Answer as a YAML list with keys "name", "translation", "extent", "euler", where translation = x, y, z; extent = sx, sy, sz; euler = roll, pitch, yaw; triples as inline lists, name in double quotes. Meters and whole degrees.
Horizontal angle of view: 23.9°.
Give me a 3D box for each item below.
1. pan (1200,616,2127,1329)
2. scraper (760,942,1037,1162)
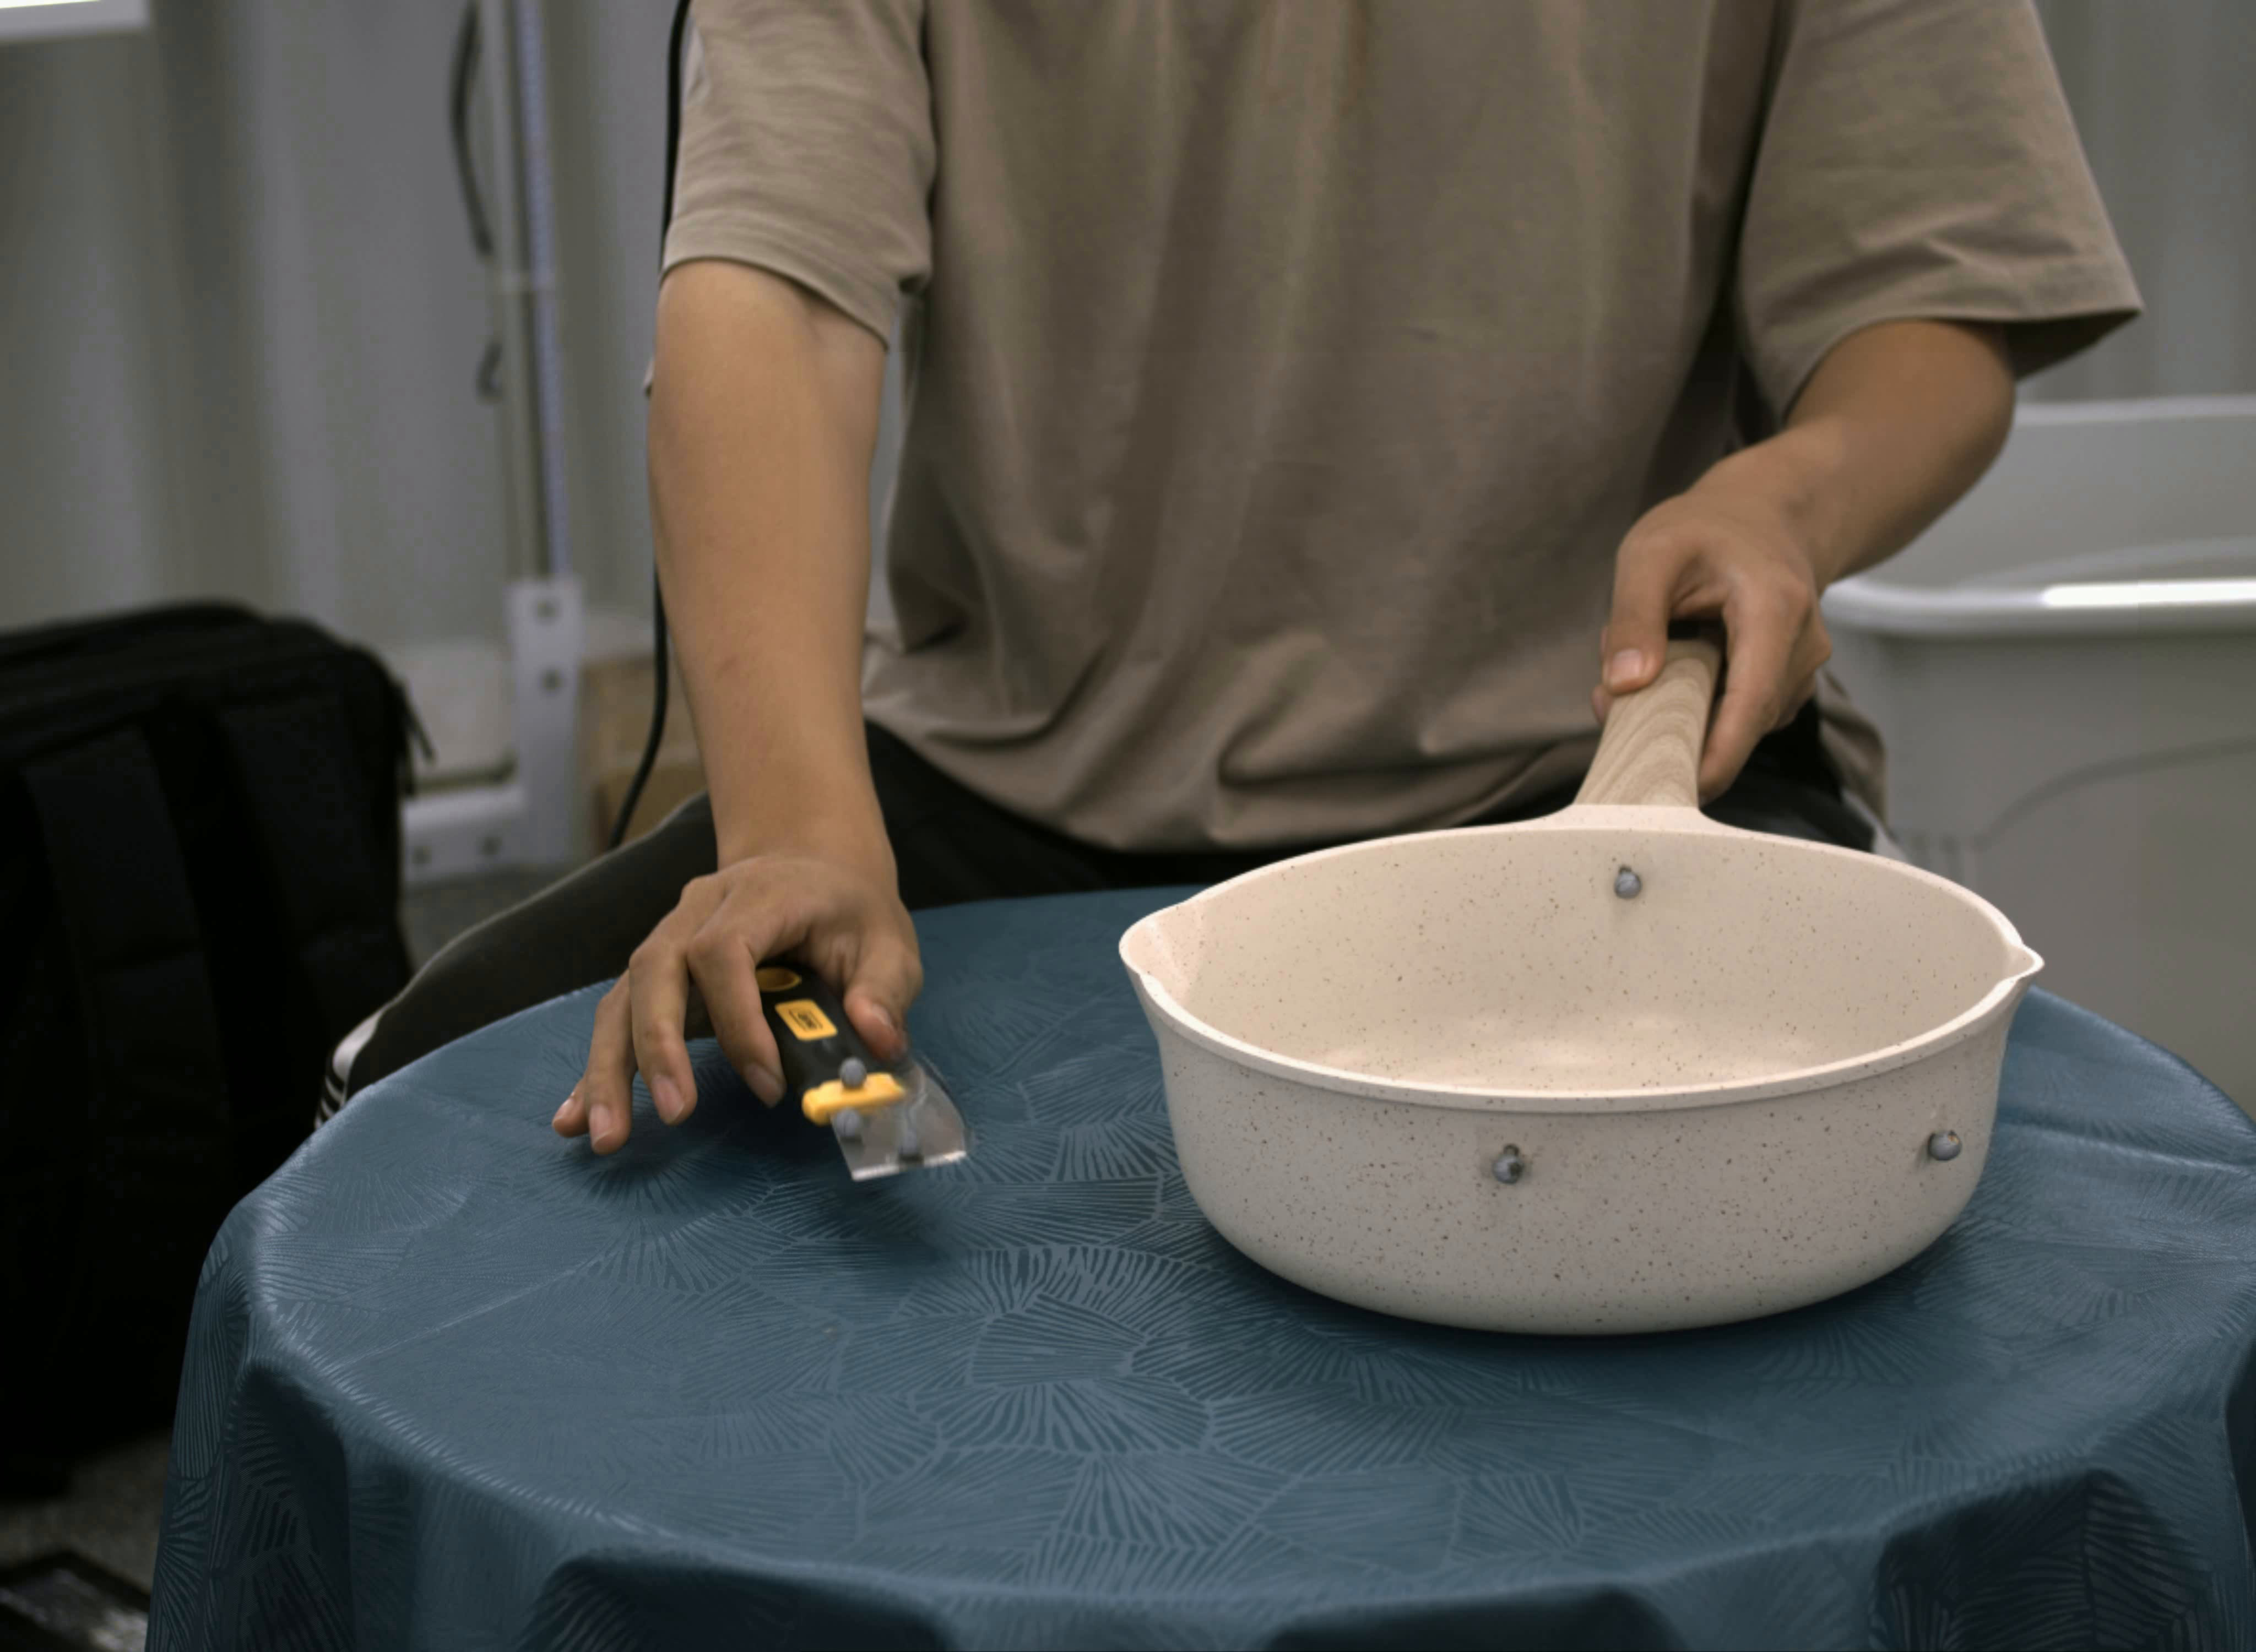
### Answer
- name: "pan"
  translation: [0.170, 0.039, 1.590]
  extent: [0.265, 0.102, 0.432]
  euler: [-1, 16, 12]
- name: "scraper"
  translation: [-0.073, 0.066, 1.577]
  extent: [0.038, 0.015, 0.174]
  euler: [-17, 22, -16]
